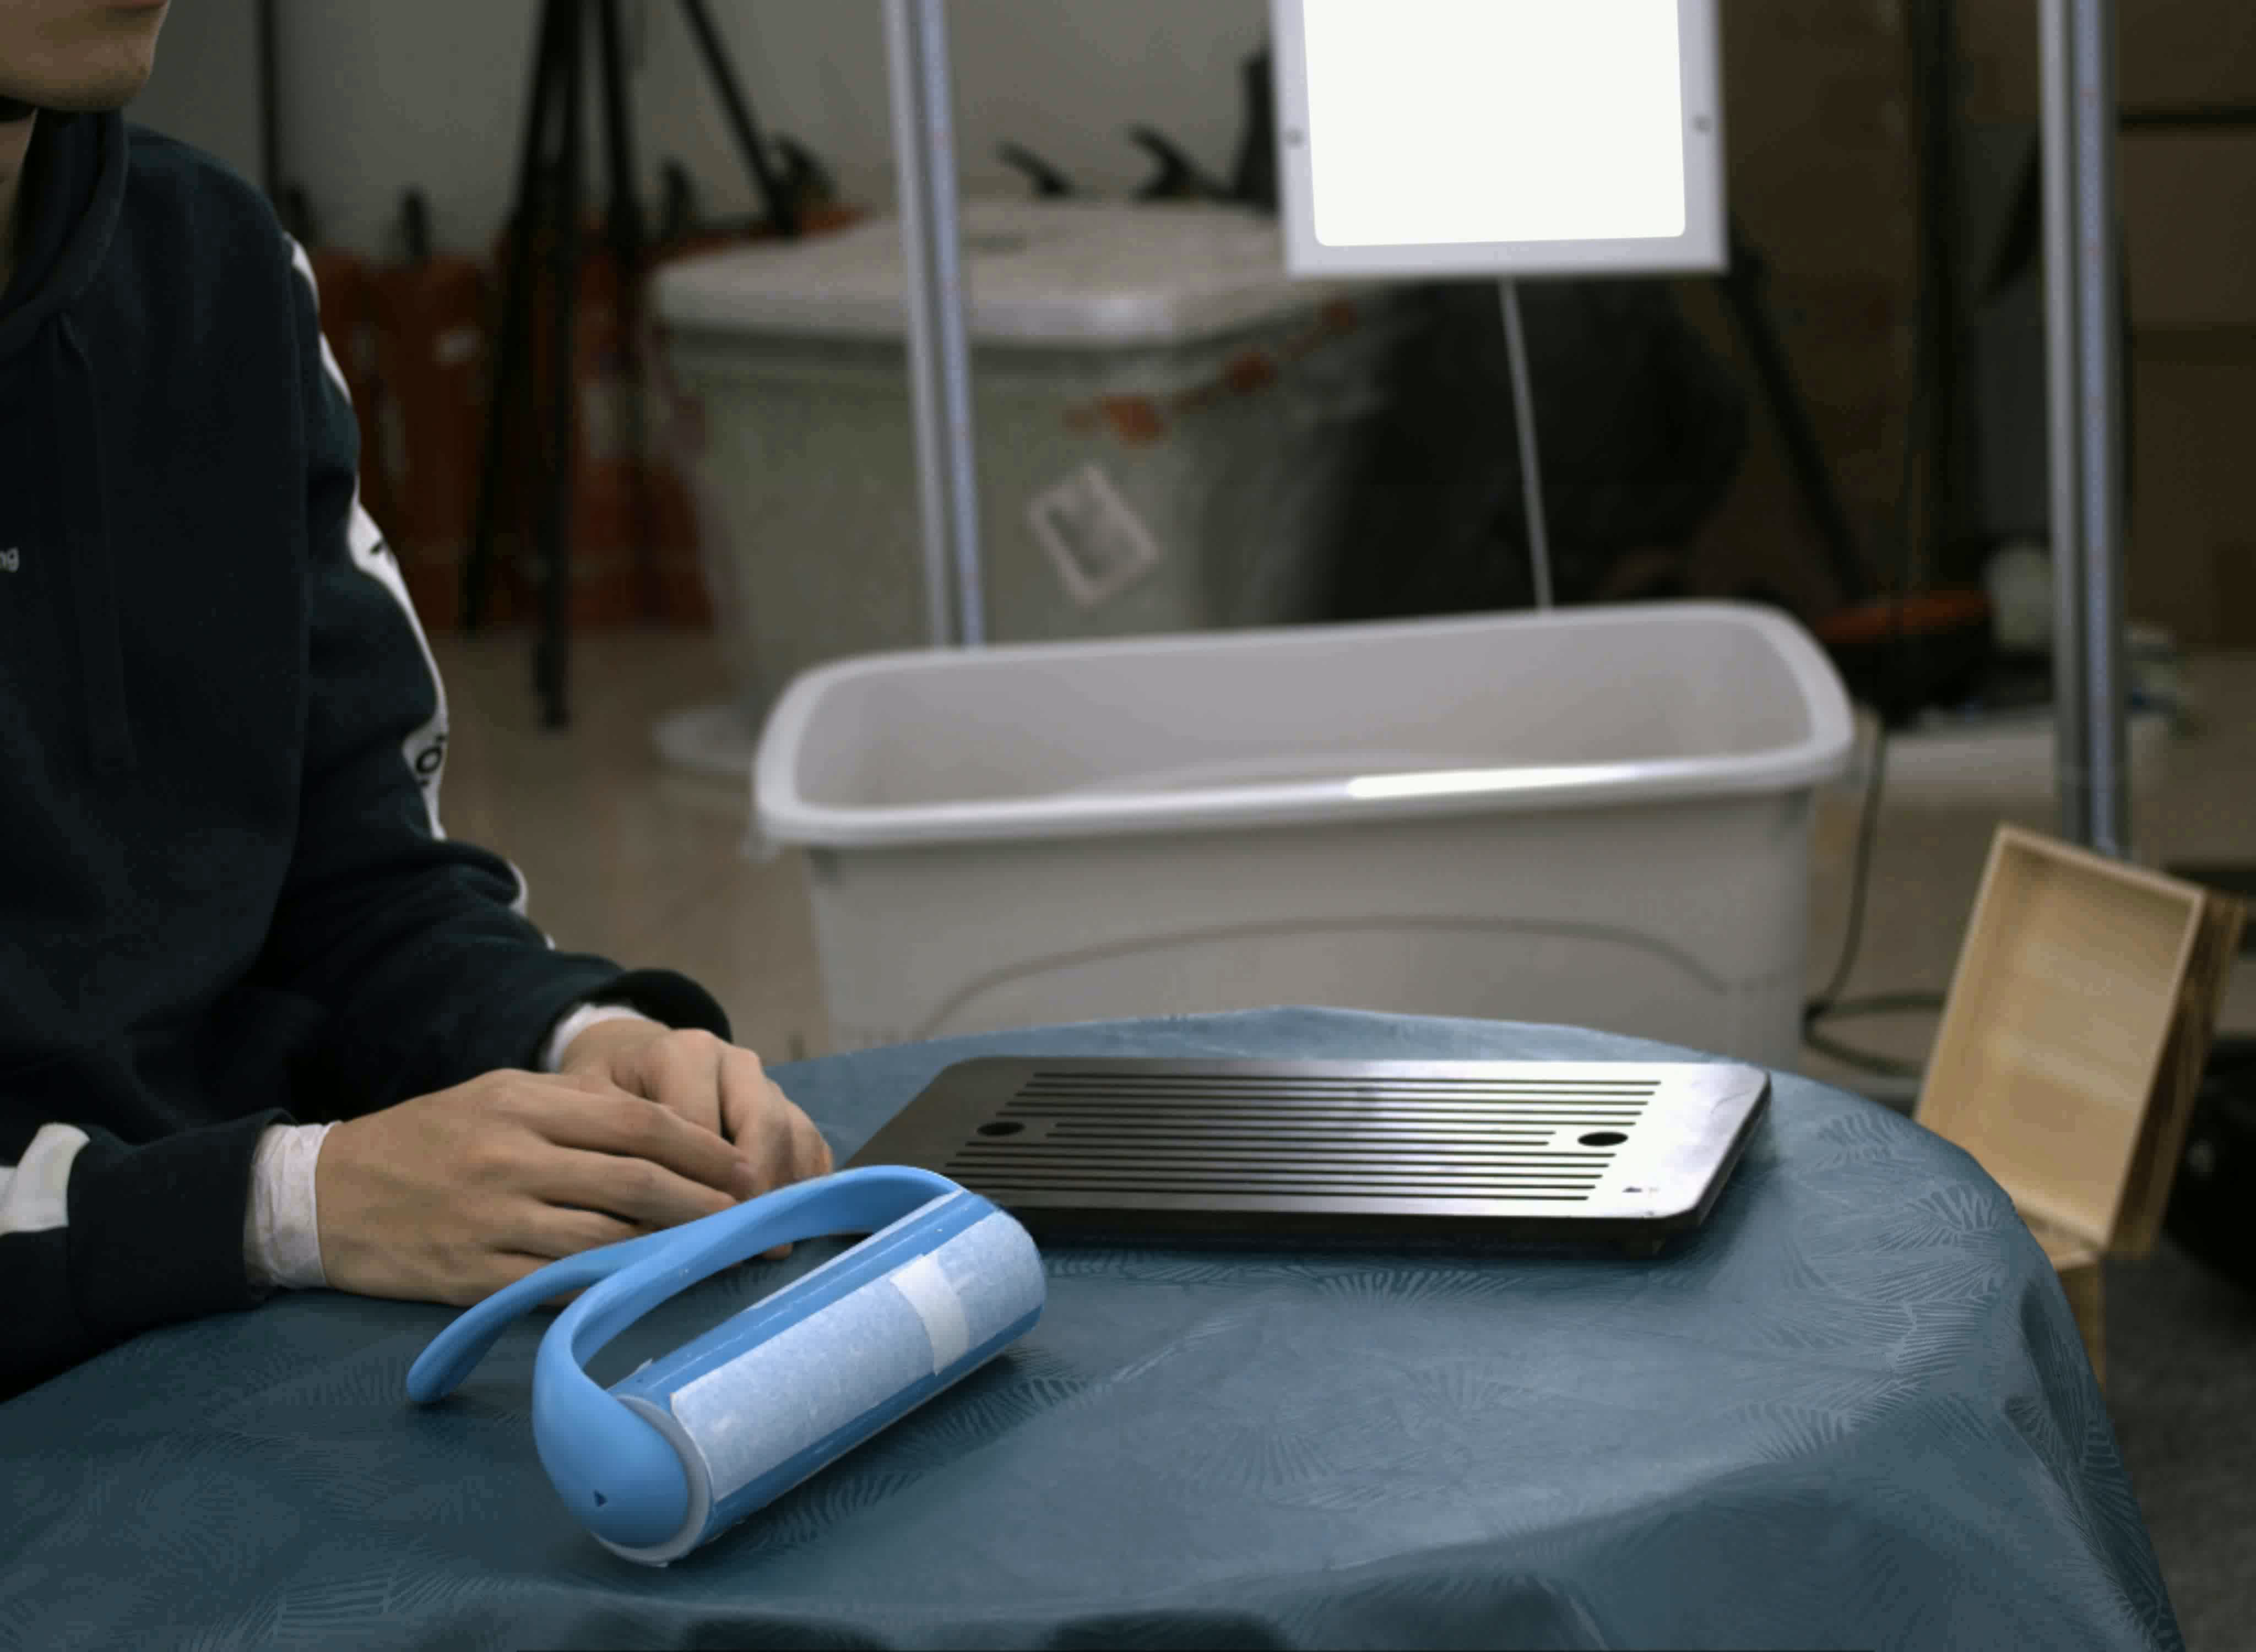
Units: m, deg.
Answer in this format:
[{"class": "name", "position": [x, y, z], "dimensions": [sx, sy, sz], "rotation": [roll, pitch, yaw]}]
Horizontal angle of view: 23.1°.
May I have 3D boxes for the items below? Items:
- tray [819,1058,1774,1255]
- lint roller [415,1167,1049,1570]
[{"class": "tray", "position": [0.061, 0.112, 1.892], "dimensions": [0.309, 0.019, 0.167], "rotation": [-1, 15, 18]}, {"class": "lint roller", "position": [-0.146, 0.160, 1.692], "dimensions": [0.183, 0.068, 0.224], "rotation": [4, 18, 28]}]
